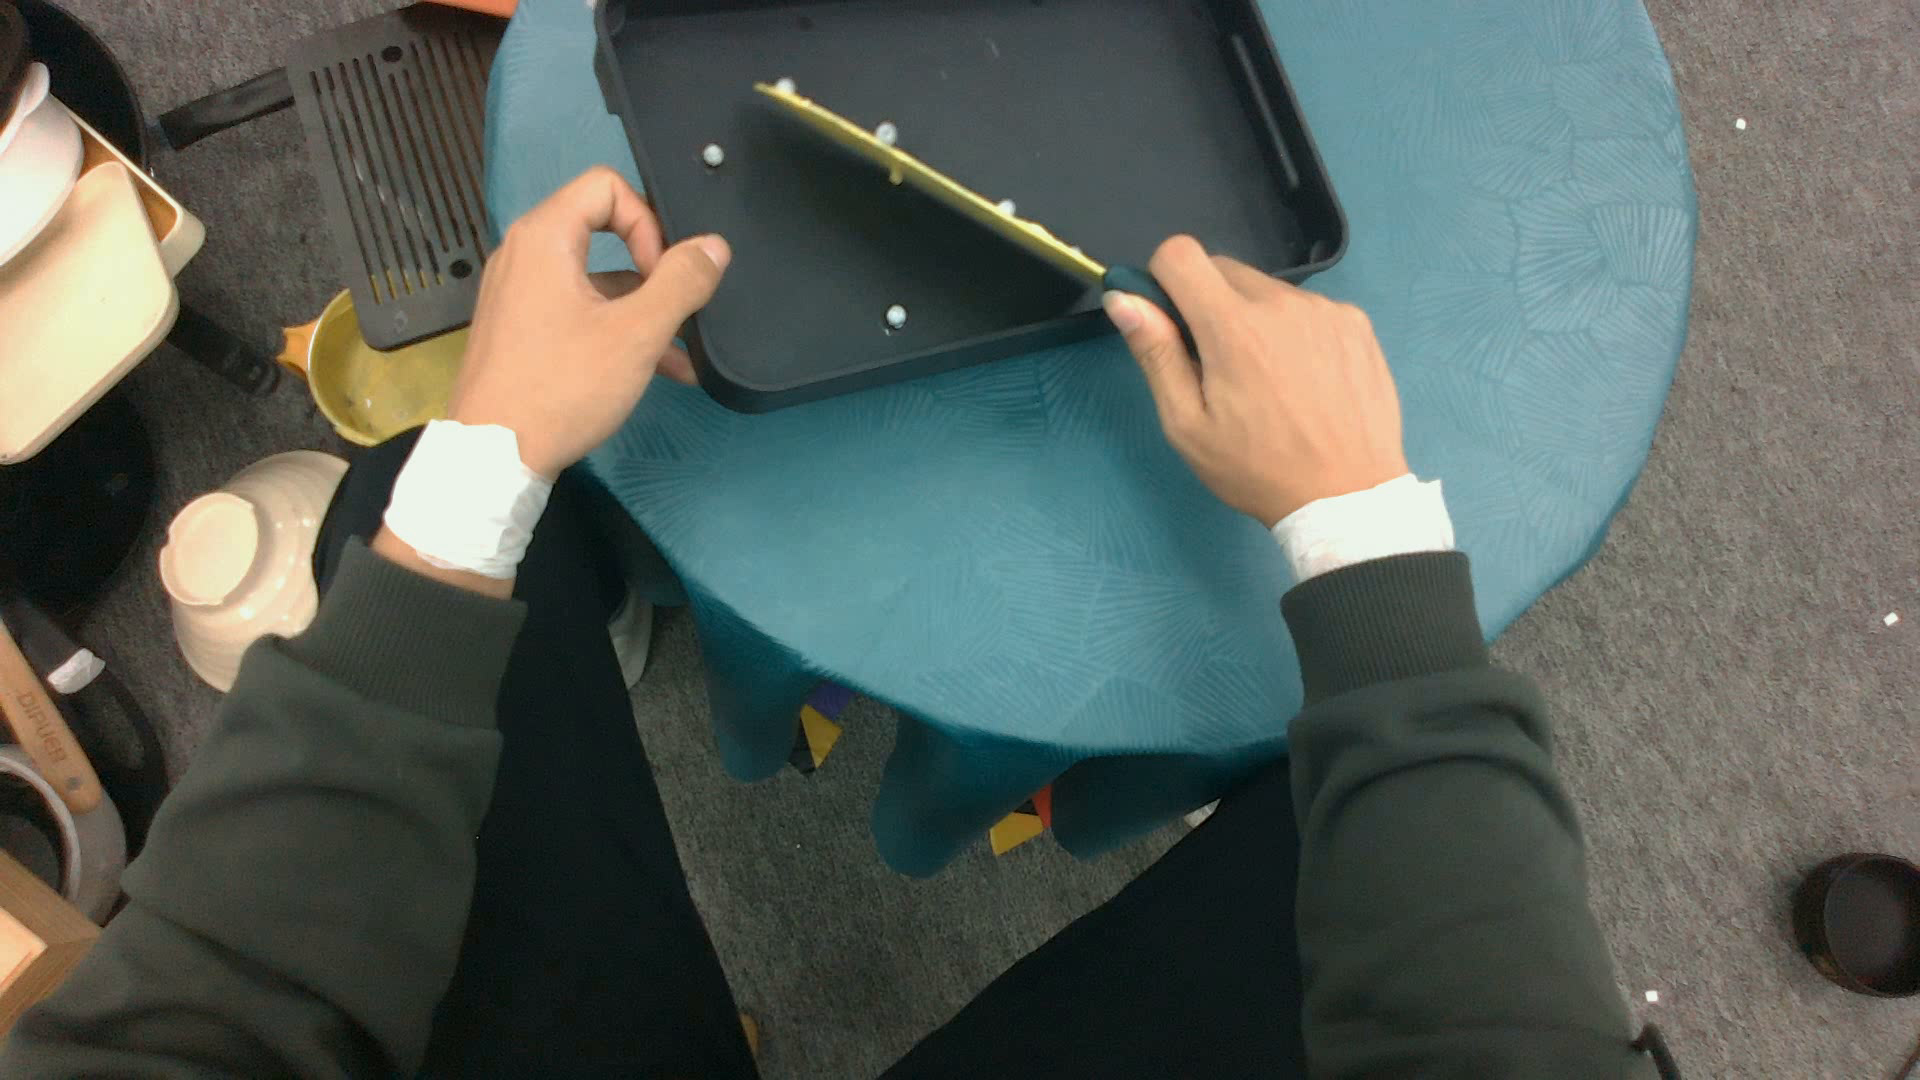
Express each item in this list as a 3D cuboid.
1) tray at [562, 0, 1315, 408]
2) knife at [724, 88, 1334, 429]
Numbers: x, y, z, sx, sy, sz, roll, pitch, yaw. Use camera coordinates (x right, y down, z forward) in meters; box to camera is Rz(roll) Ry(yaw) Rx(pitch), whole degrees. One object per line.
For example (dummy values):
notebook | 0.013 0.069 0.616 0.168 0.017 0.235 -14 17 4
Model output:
tray | 0.001 -0.178 0.612 0.319 0.037 0.184 -18 82 -26
knife | 0.031 -0.120 0.584 0.289 0.081 0.027 26 100 -10
